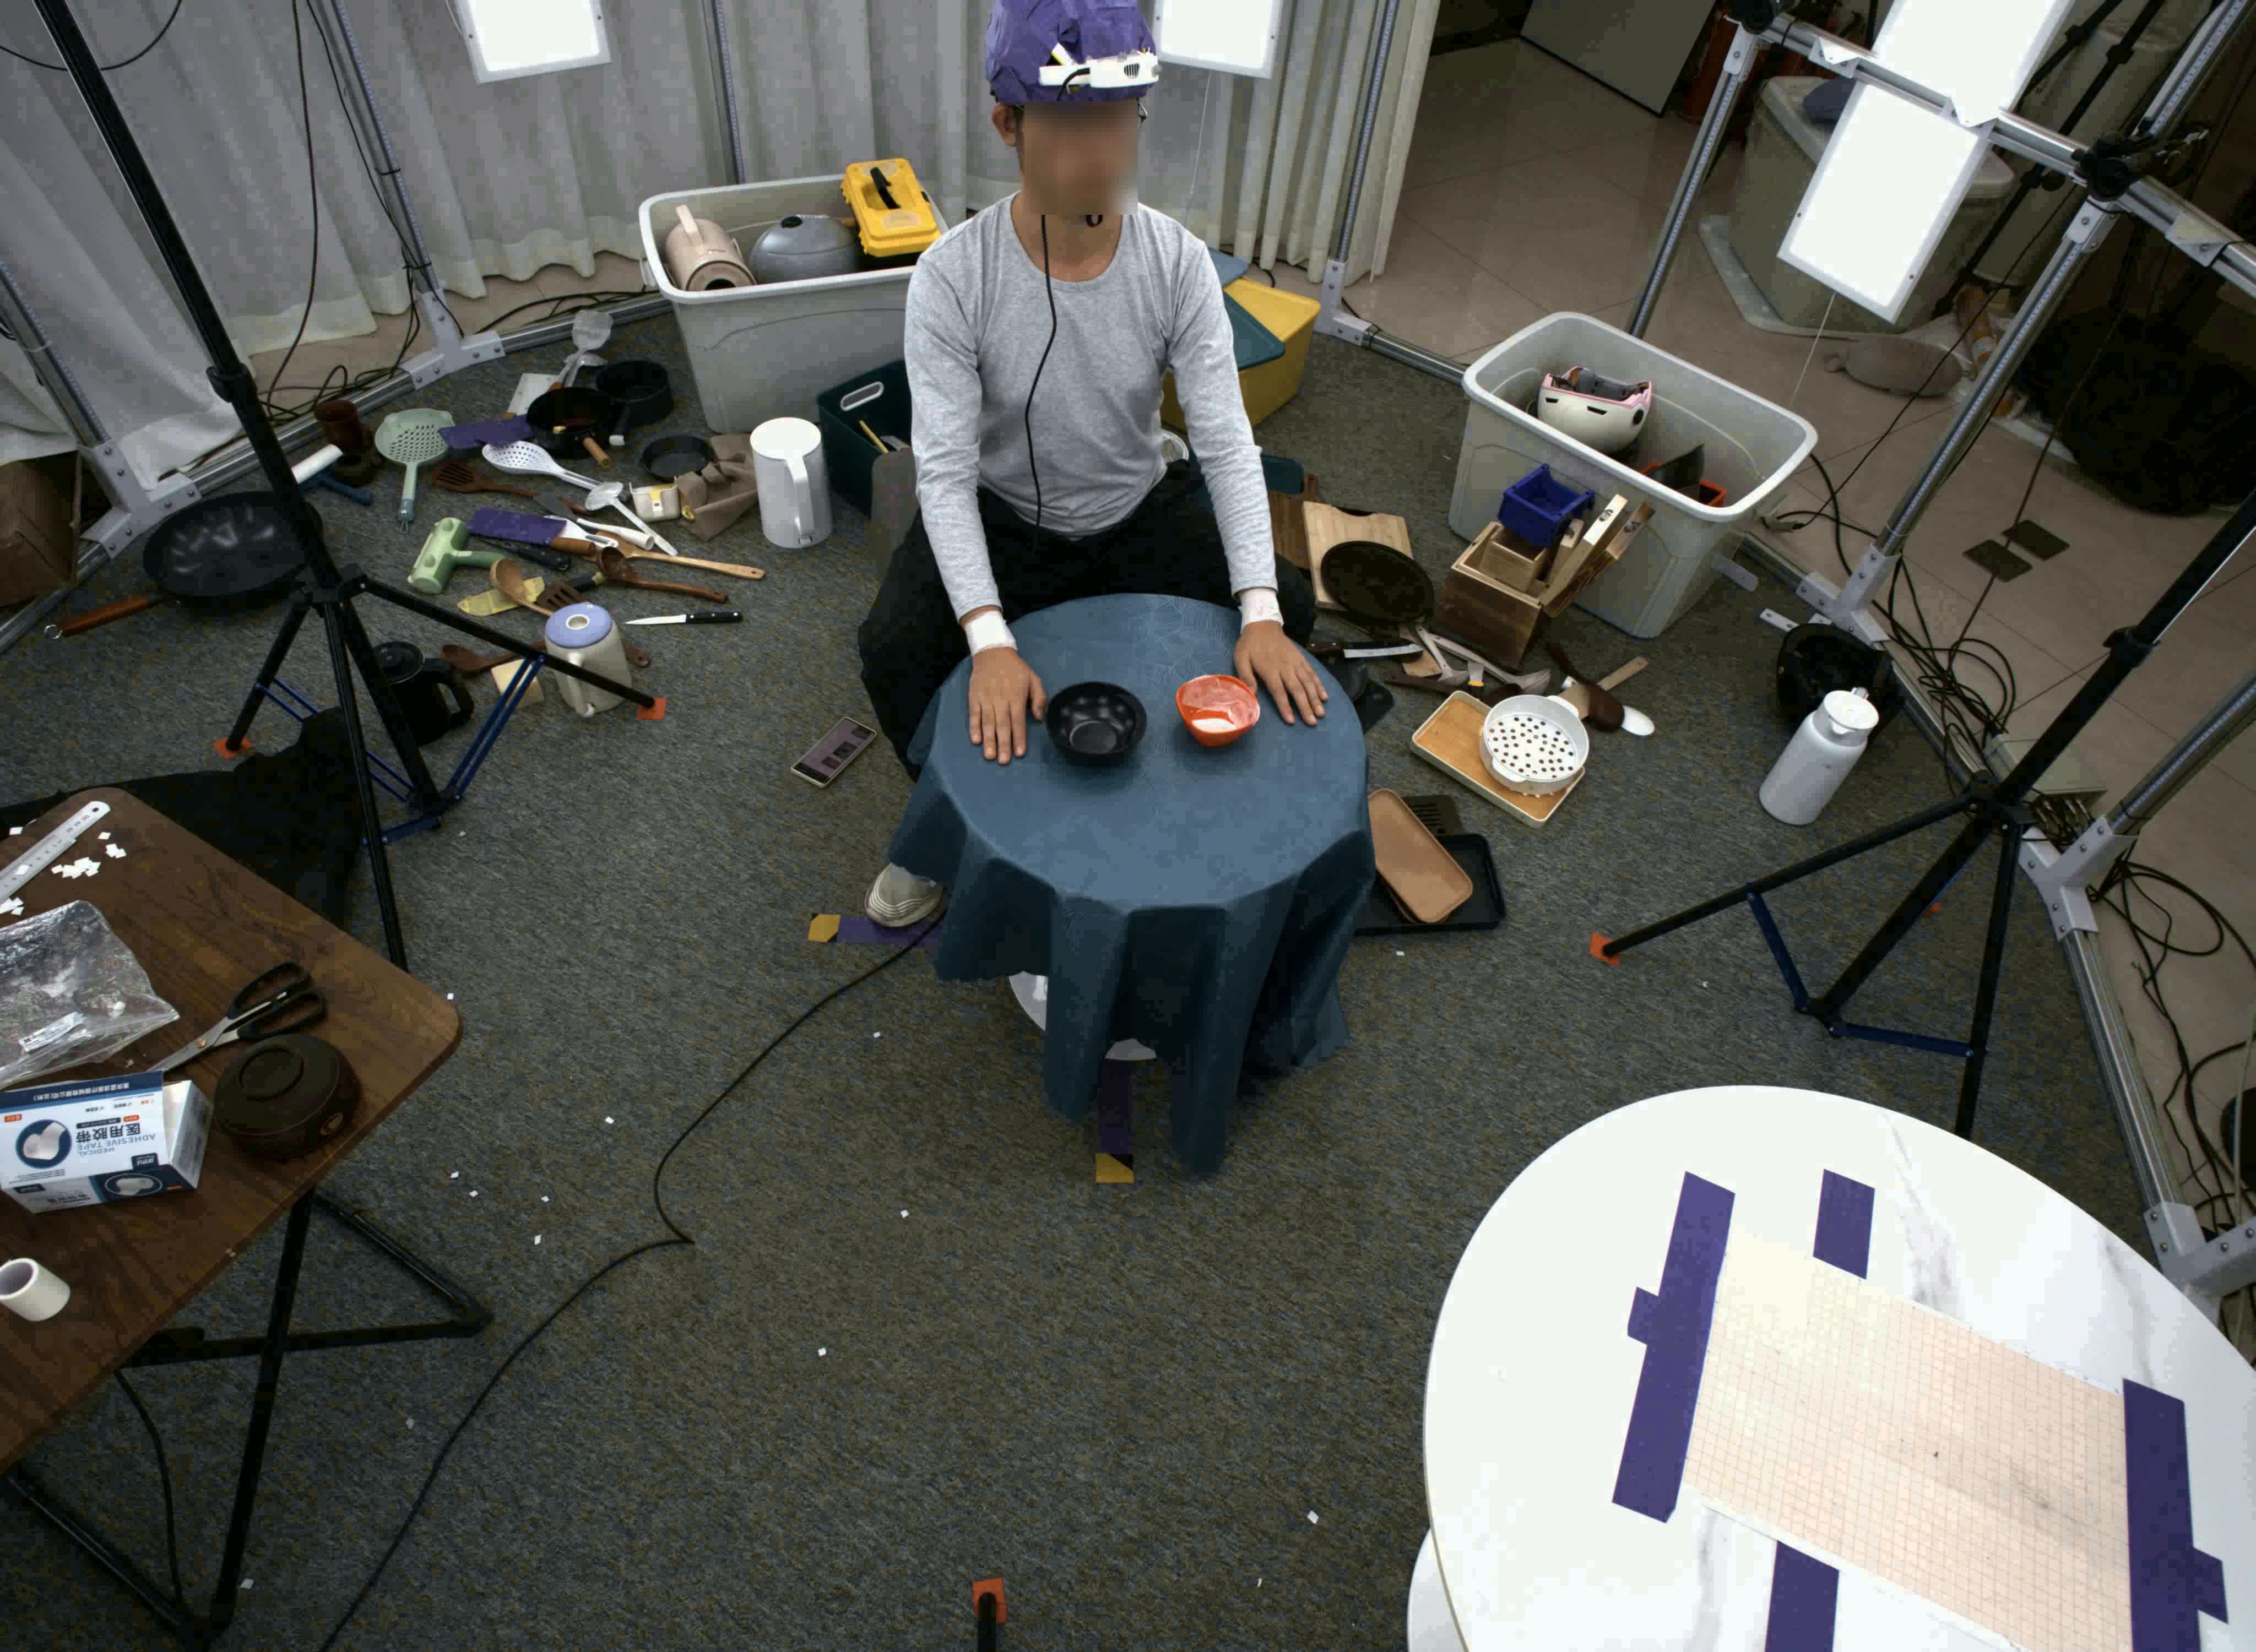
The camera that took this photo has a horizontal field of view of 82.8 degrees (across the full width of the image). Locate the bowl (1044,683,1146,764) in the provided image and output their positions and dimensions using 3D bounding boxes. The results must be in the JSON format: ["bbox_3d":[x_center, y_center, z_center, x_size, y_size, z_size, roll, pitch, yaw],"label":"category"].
[{"bbox_3d":[-0.046,-0.131,1.748,0.140,0.048,0.143,2,47,-2],"label":"bowl"}]

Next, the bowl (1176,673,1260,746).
[{"bbox_3d":[0.122,-0.155,1.776,0.119,0.050,0.122,1,51,-2],"label":"bowl"}]
